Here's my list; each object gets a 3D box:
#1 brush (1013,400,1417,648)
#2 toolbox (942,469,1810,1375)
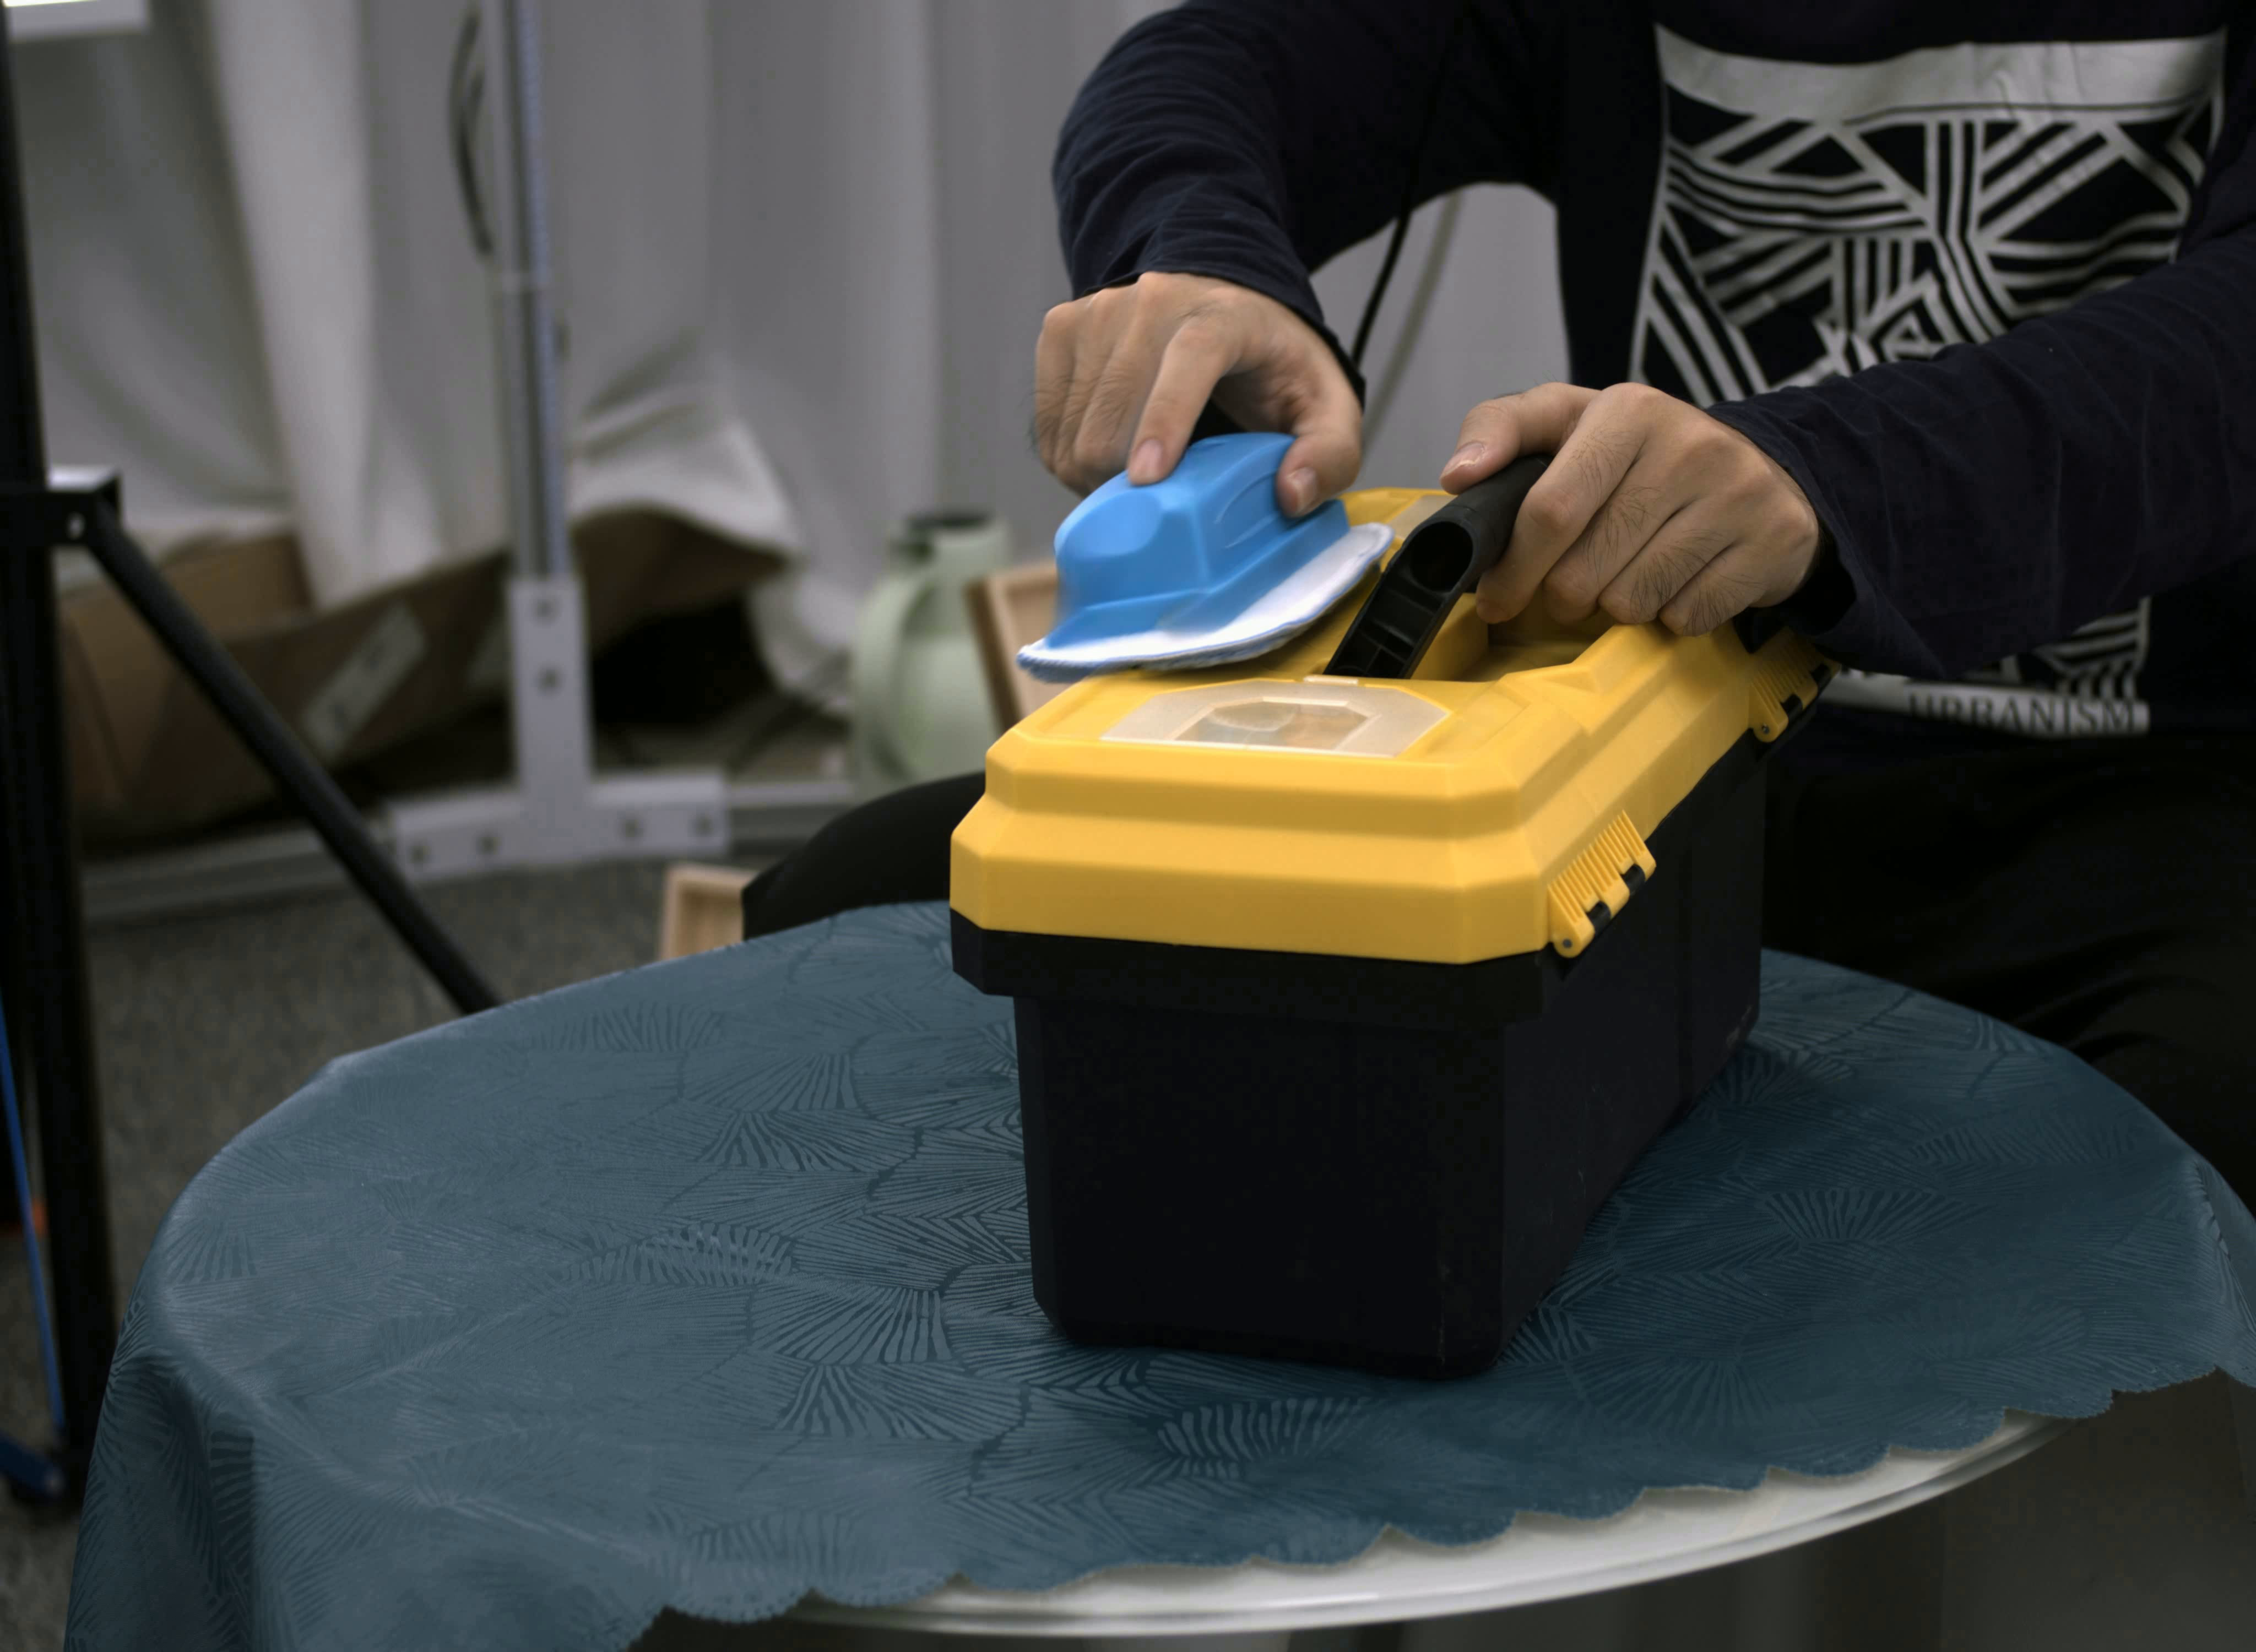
[{"bbox_3d":[0.025,-0.088,1.532,0.085,0.056,0.142,-5,14,25],"label":"brush"},{"bbox_3d":[0.083,0.018,1.540,0.183,0.173,0.347,3,18,20],"label":"toolbox"}]
